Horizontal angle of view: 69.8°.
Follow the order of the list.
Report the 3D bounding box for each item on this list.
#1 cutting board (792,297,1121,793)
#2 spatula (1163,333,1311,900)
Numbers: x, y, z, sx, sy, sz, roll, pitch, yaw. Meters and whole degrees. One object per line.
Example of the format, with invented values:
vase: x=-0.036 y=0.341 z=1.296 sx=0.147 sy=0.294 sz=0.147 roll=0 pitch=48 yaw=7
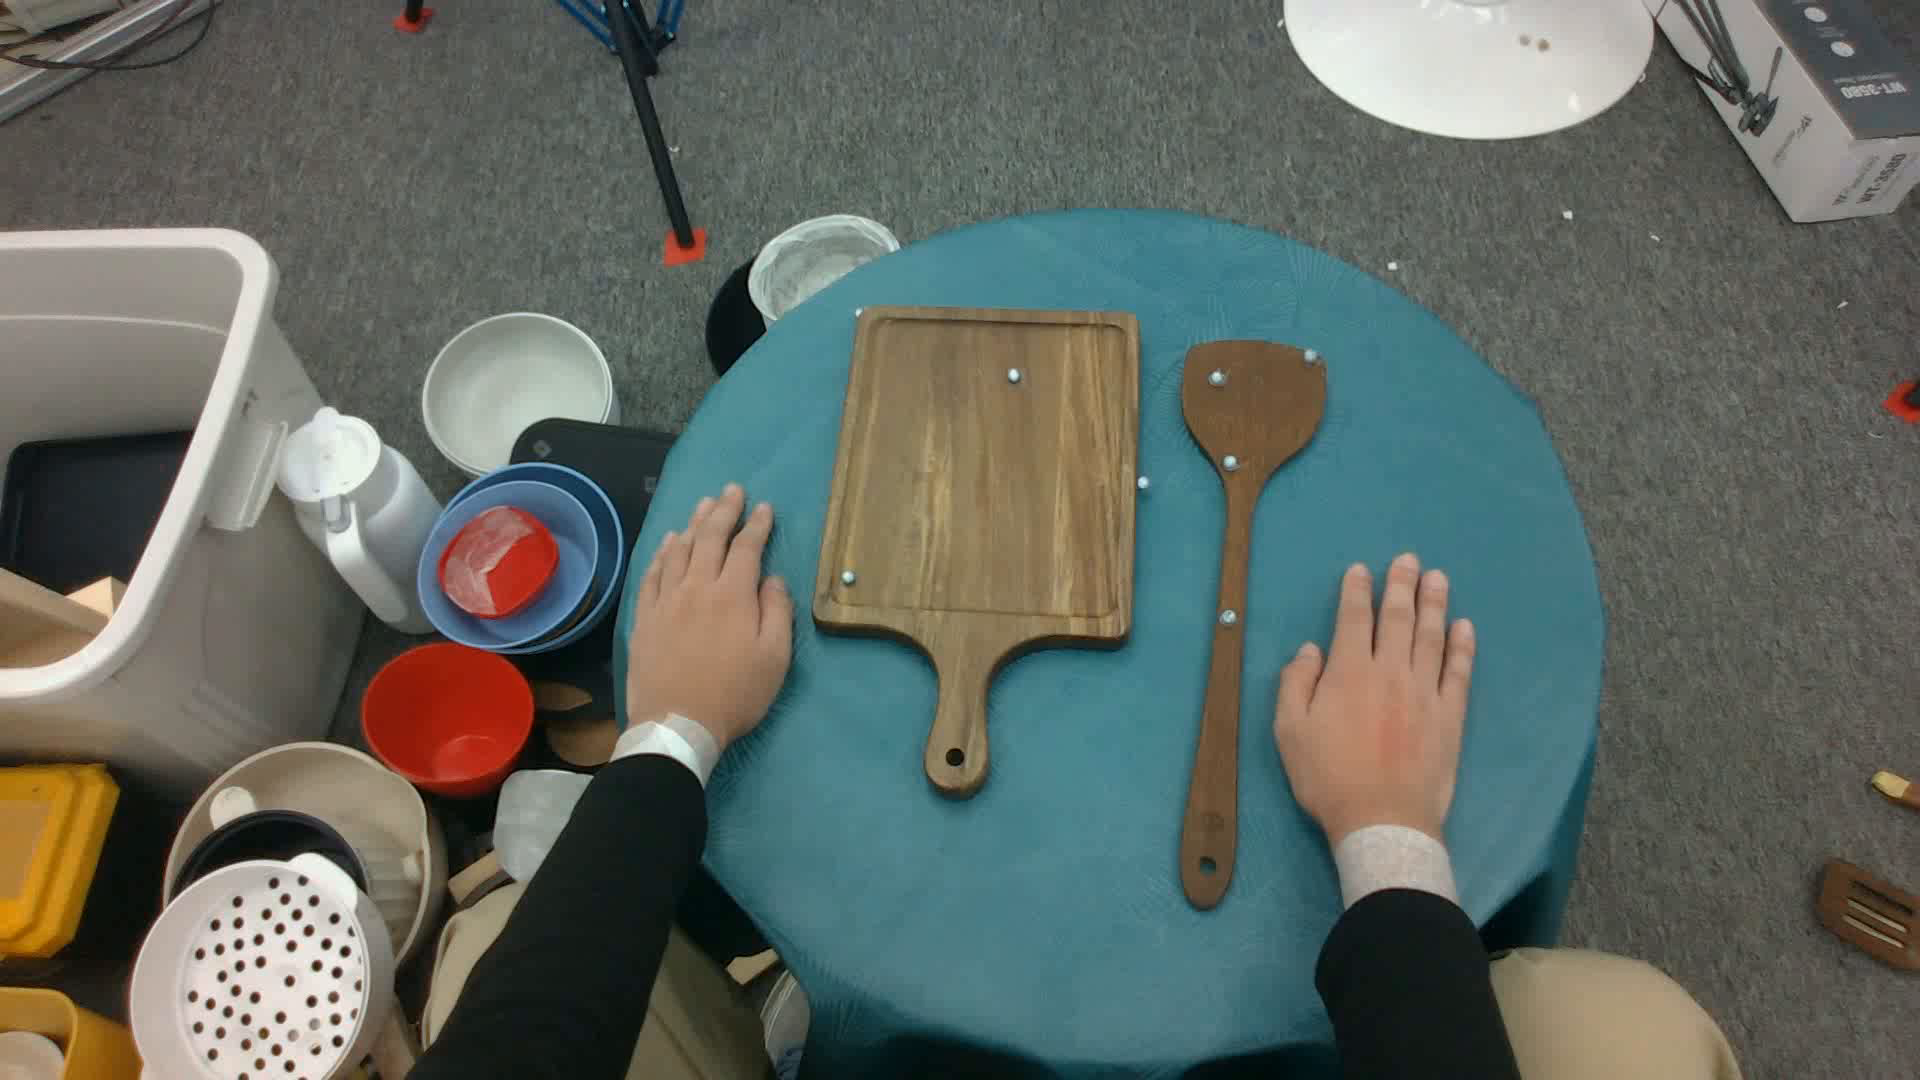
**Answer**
cutting board: x=0.000 y=-0.012 z=0.866 sx=0.201 sy=0.023 sz=0.353 roll=2 pitch=60 yaw=4
spatula: x=0.156 y=0.027 z=0.838 sx=0.096 sy=0.016 sz=0.387 roll=7 pitch=60 yaw=8
